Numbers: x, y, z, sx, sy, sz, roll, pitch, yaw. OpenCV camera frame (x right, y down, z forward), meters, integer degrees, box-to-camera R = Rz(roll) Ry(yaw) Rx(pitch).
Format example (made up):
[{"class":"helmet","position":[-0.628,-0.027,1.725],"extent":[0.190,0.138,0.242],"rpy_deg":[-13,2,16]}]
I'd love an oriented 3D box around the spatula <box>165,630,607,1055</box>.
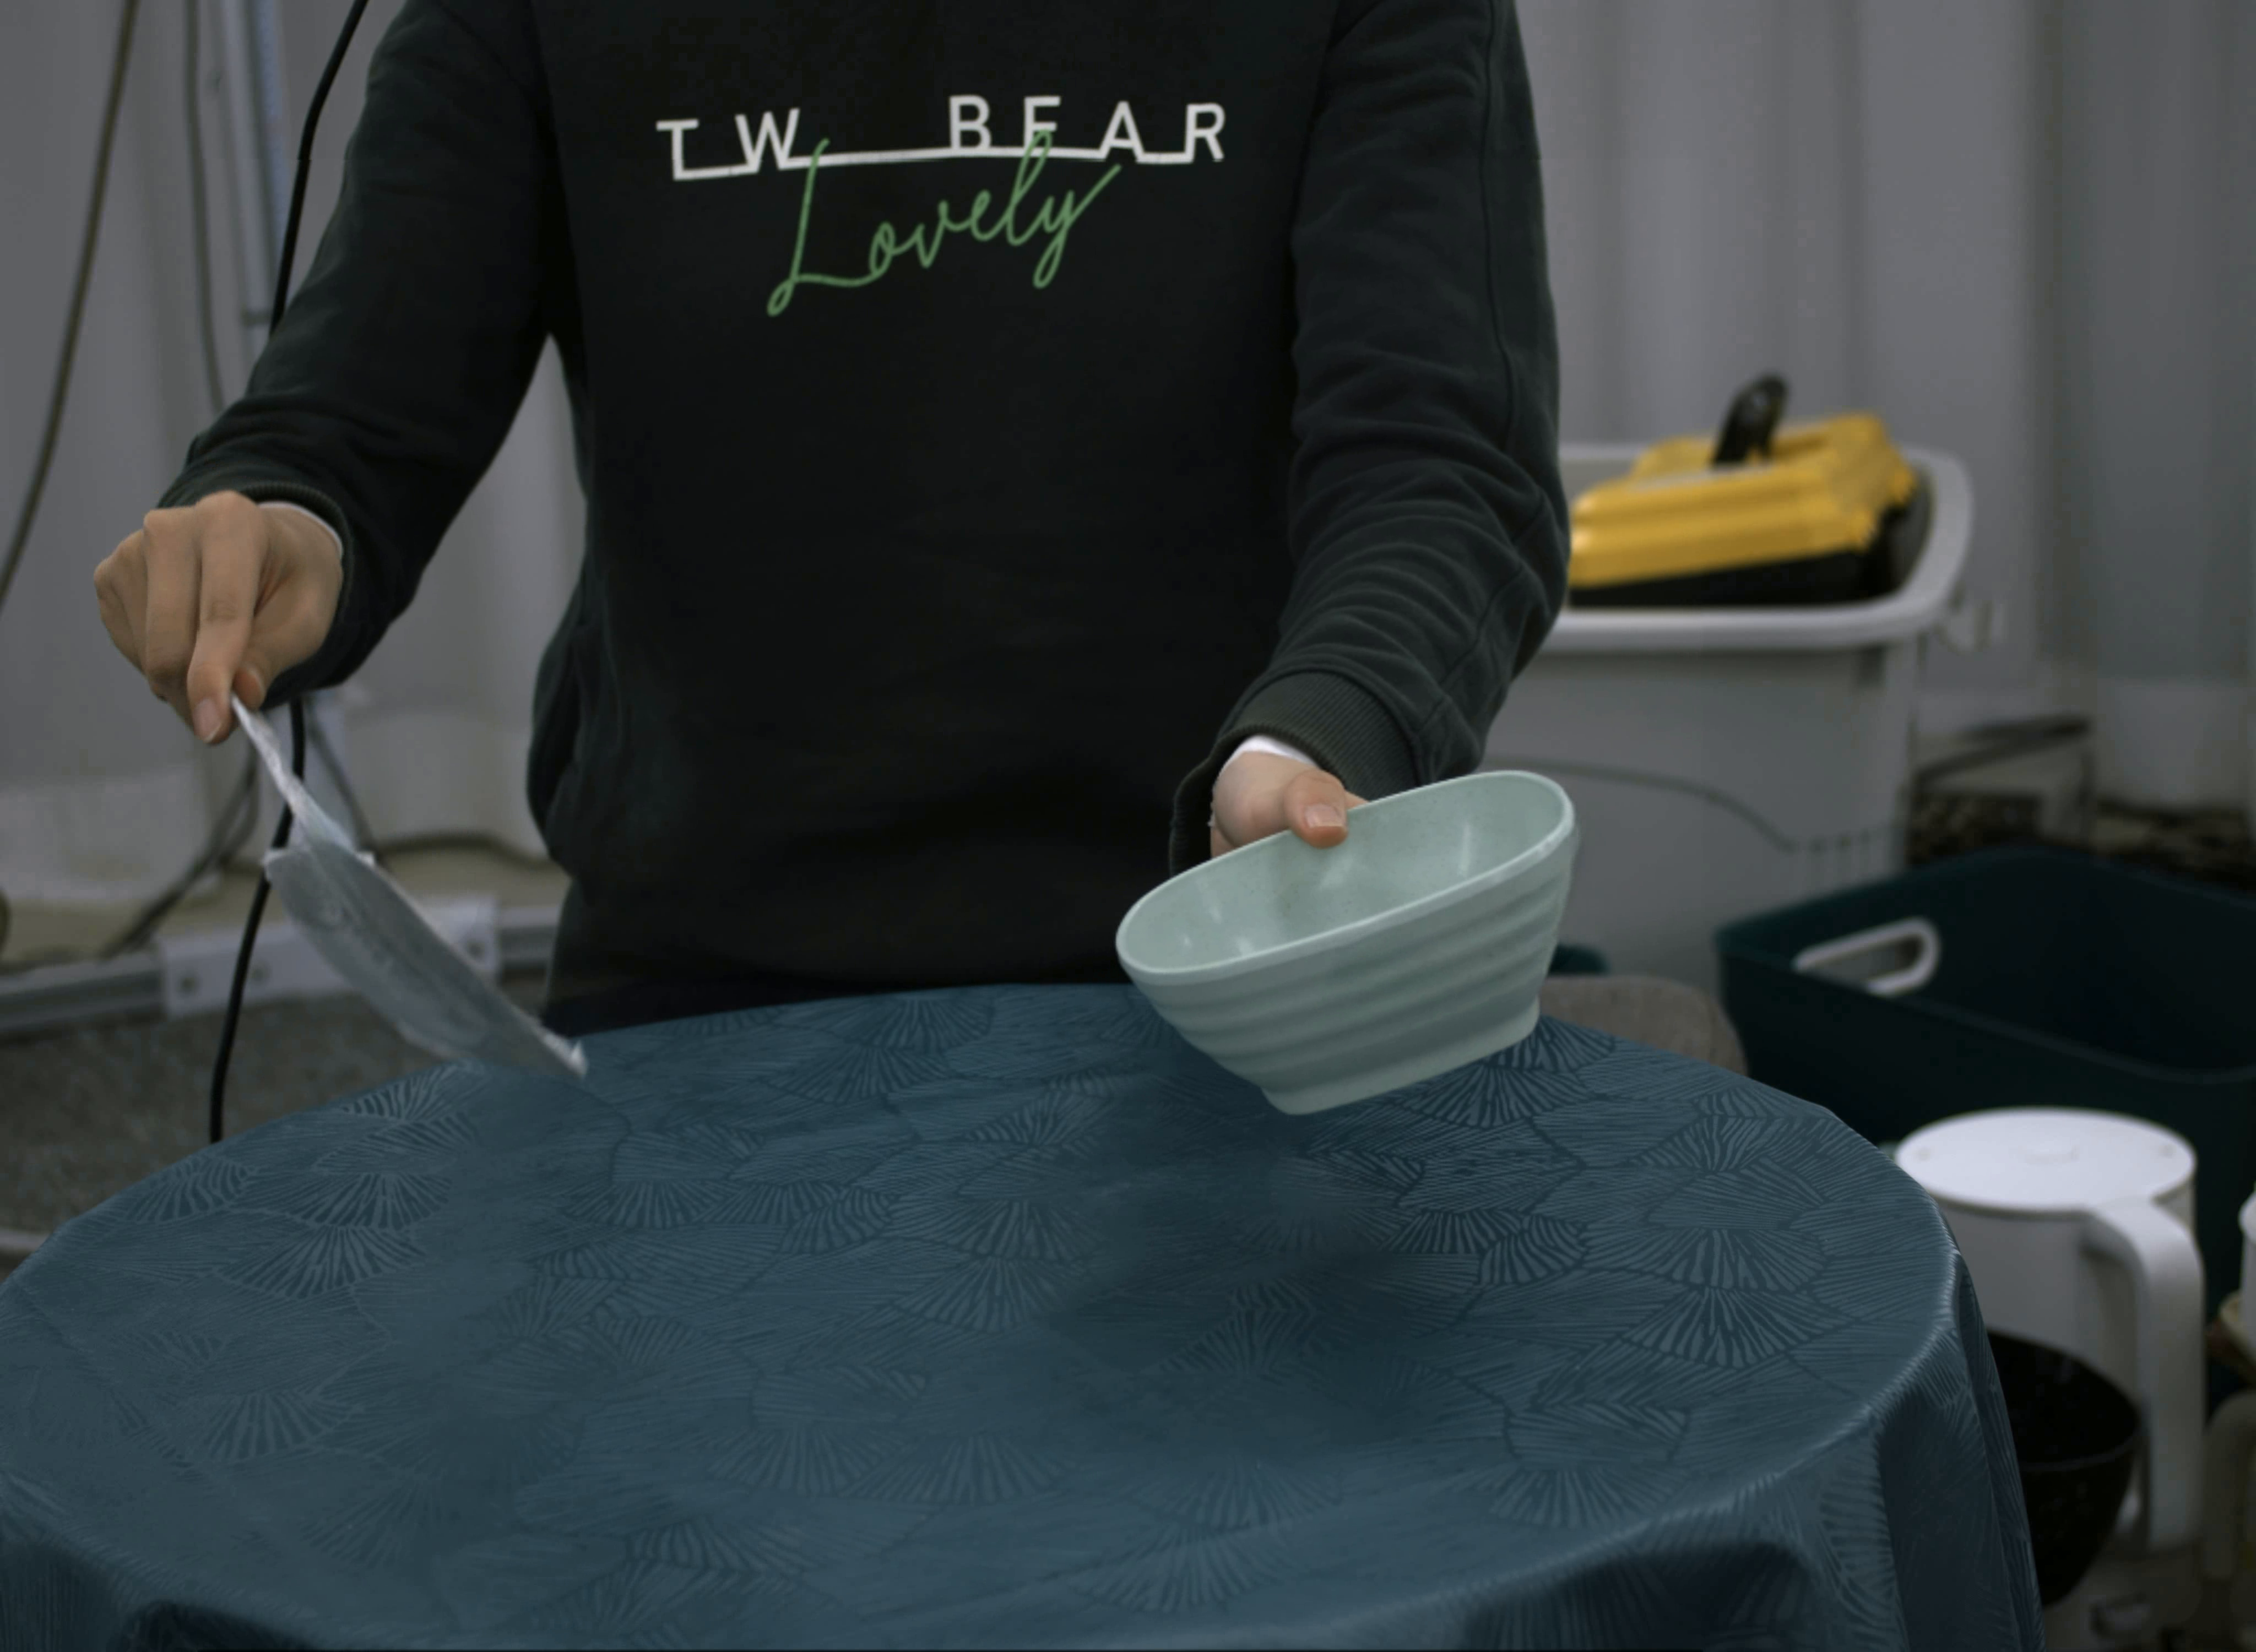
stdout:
[{"class":"spatula","position":[-0.241,-0.012,1.635],"extent":[0.045,0.097,0.369],"rpy_deg":[-45,28,1]}]

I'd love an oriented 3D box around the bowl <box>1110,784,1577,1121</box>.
[{"class":"bowl","position":[0.069,0.041,1.592],"extent":[0.151,0.058,0.152],"rpy_deg":[-16,13,3]}]
